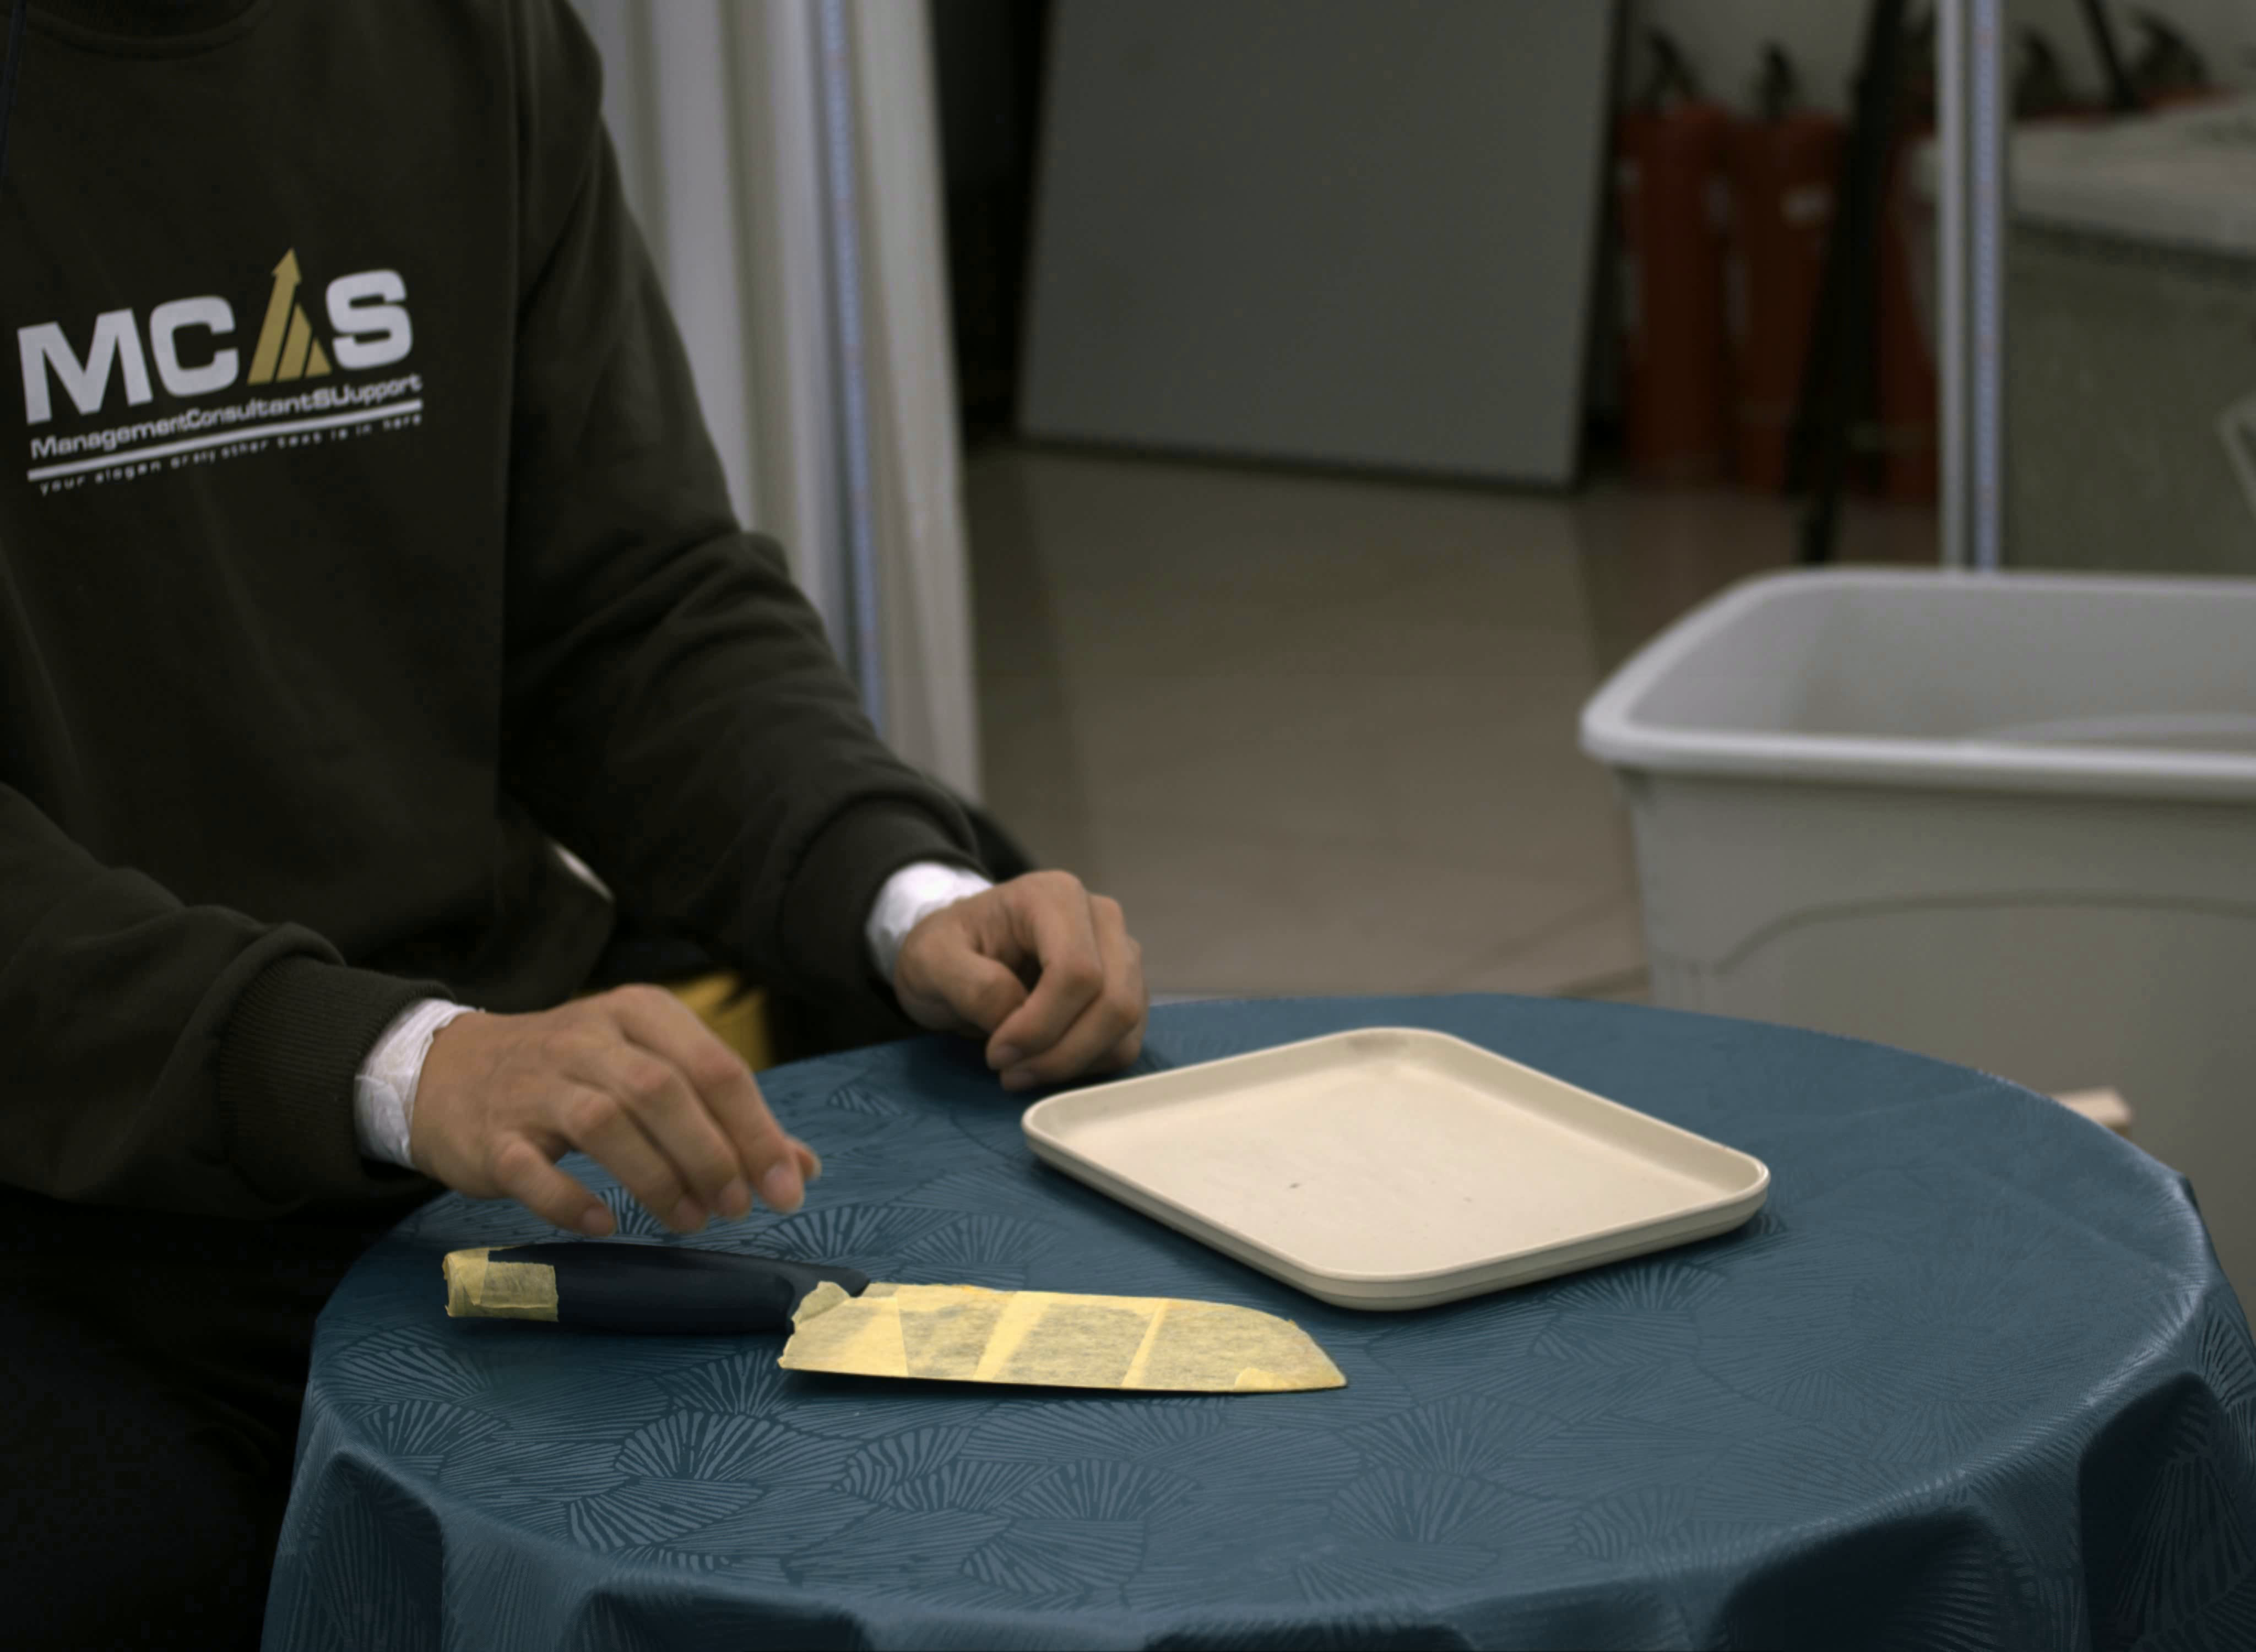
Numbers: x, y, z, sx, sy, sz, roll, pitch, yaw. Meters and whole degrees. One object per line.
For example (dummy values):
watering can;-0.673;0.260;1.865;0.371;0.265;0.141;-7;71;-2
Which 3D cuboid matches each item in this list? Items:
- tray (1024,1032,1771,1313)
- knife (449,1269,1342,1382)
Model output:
tray;0.085;0.111;1.753;0.167;0.017;0.242;-12;15;-26
knife;-0.074;0.154;1.631;0.288;0.027;0.080;0;13;15
